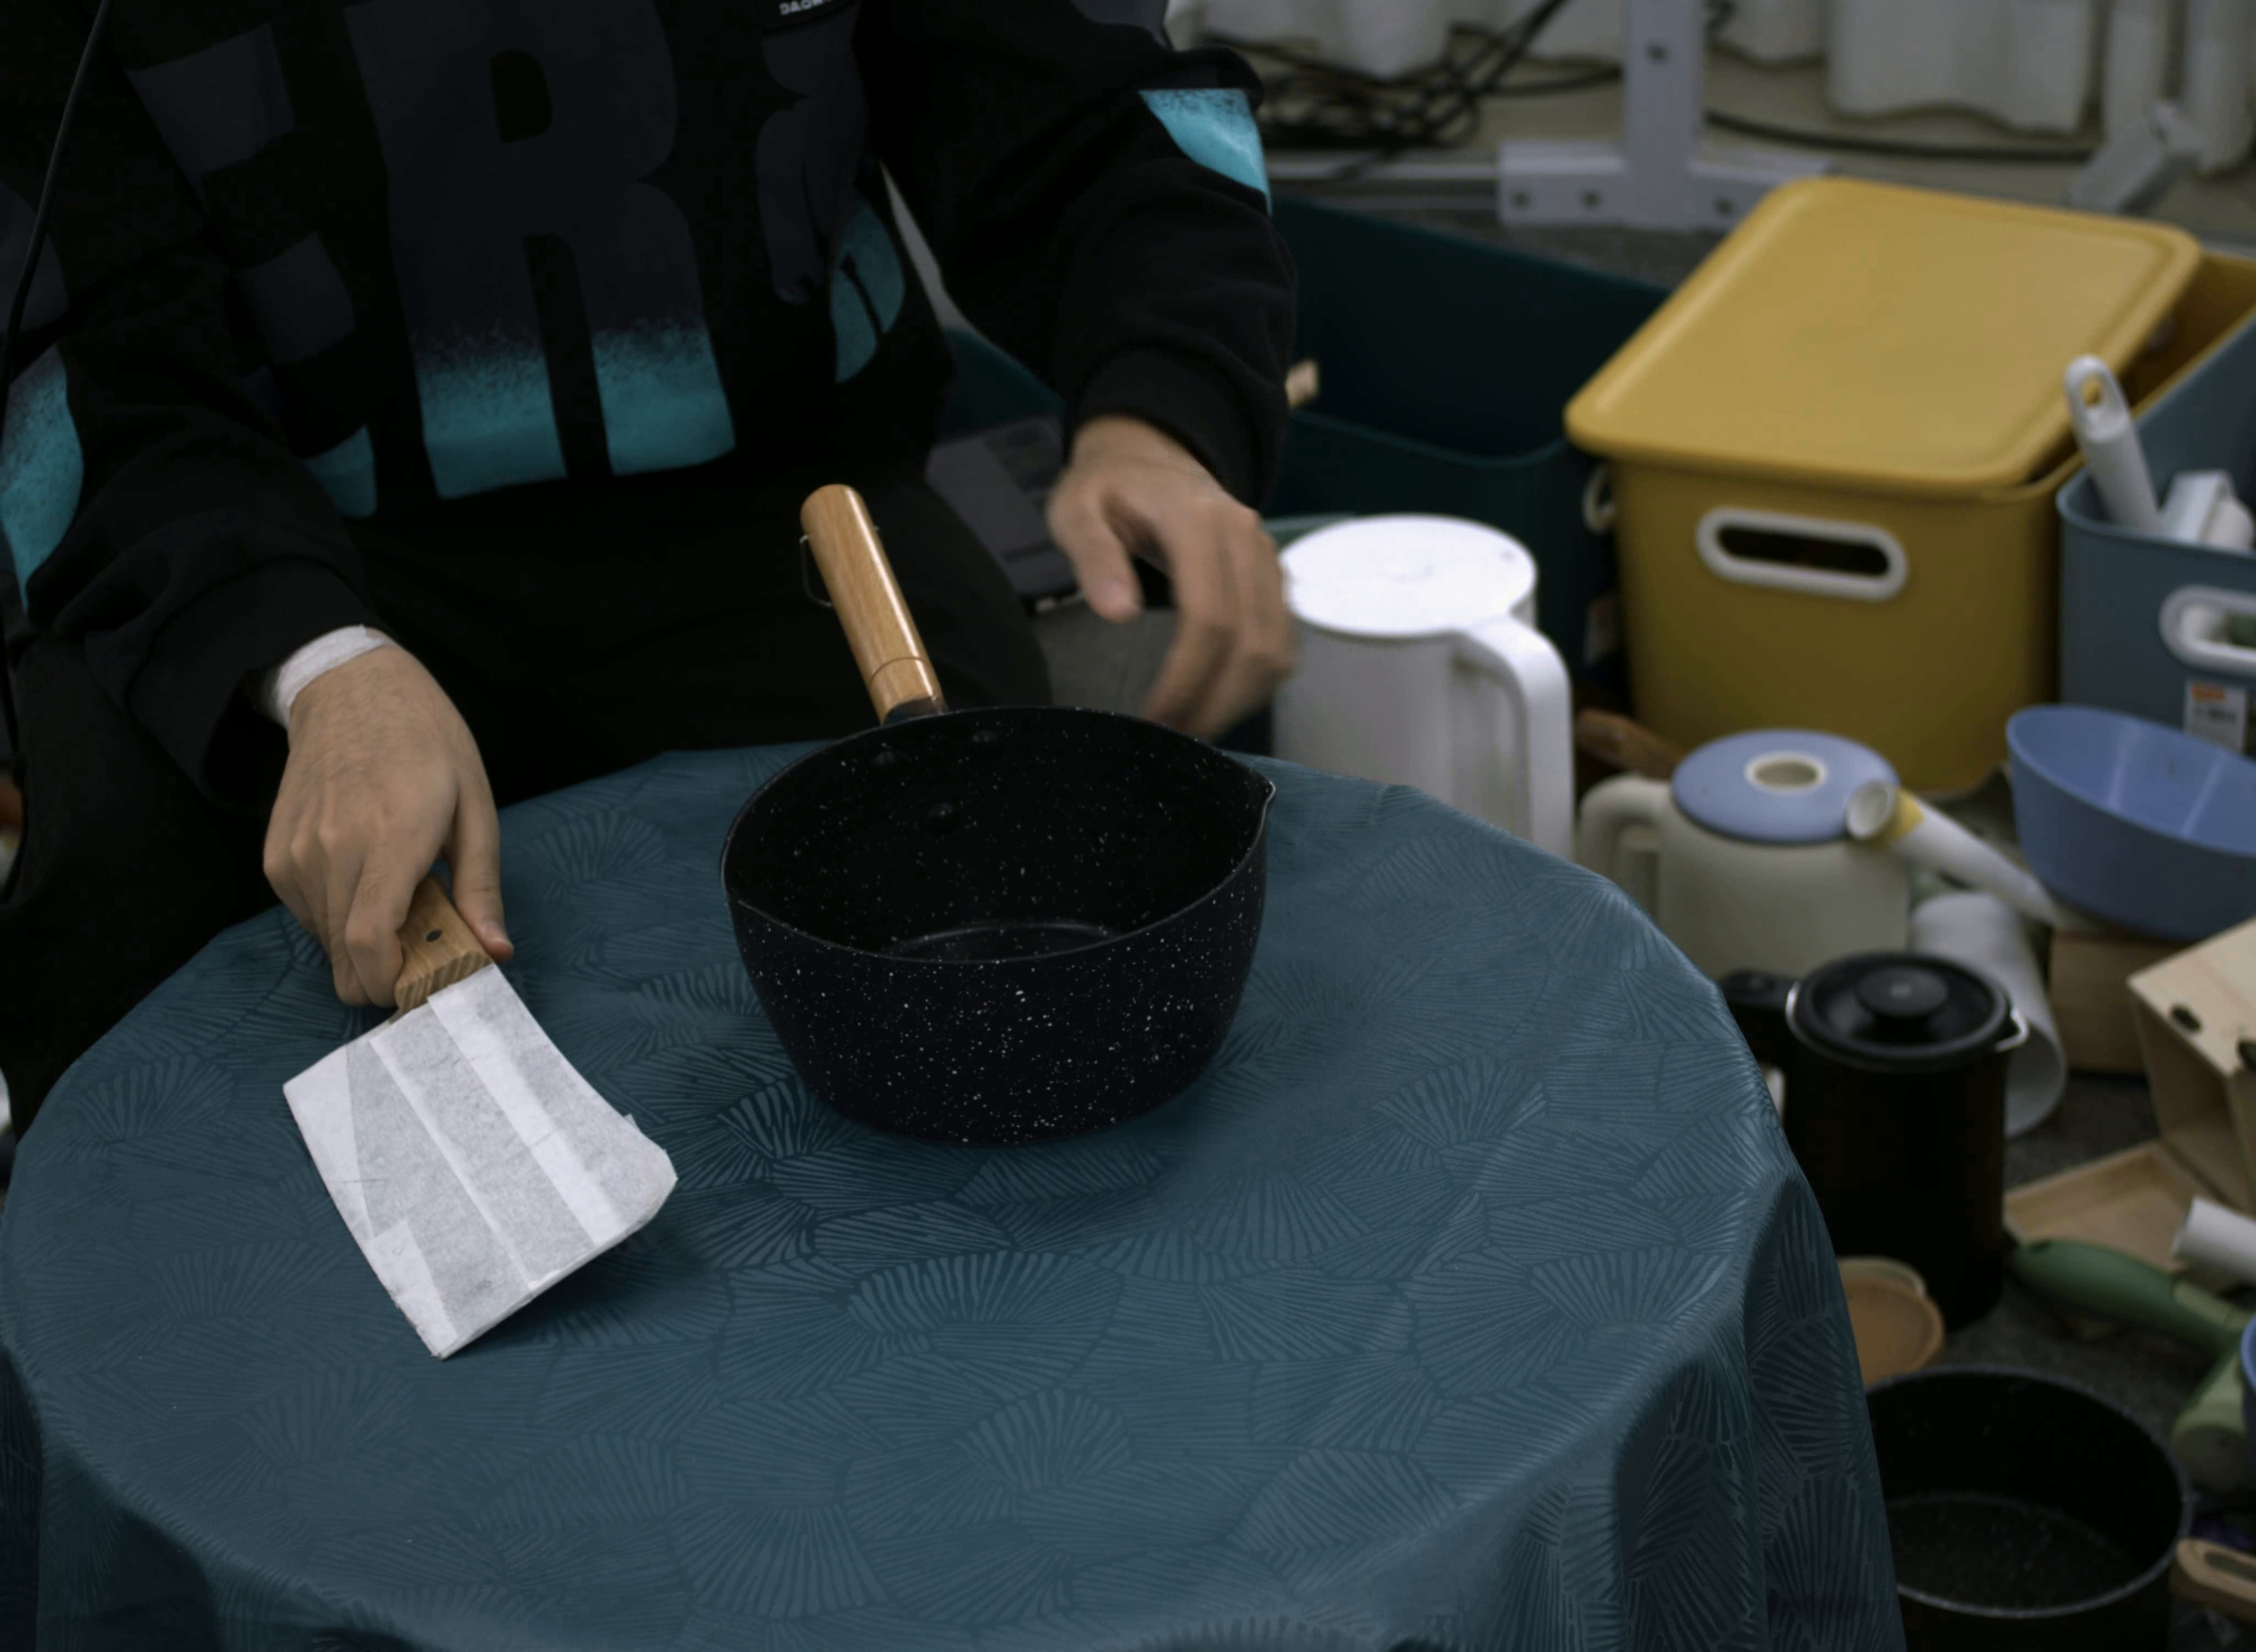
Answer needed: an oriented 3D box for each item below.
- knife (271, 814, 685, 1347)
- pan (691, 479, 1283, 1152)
[{"bbox_3d":[-0.237,0.078,1.924,0.114,0.021,0.318,-29,34,-6],"label":"knife"},{"bbox_3d":[-0.067,-0.008,2.000,0.207,0.107,0.346,-11,30,-14],"label":"pan"}]
